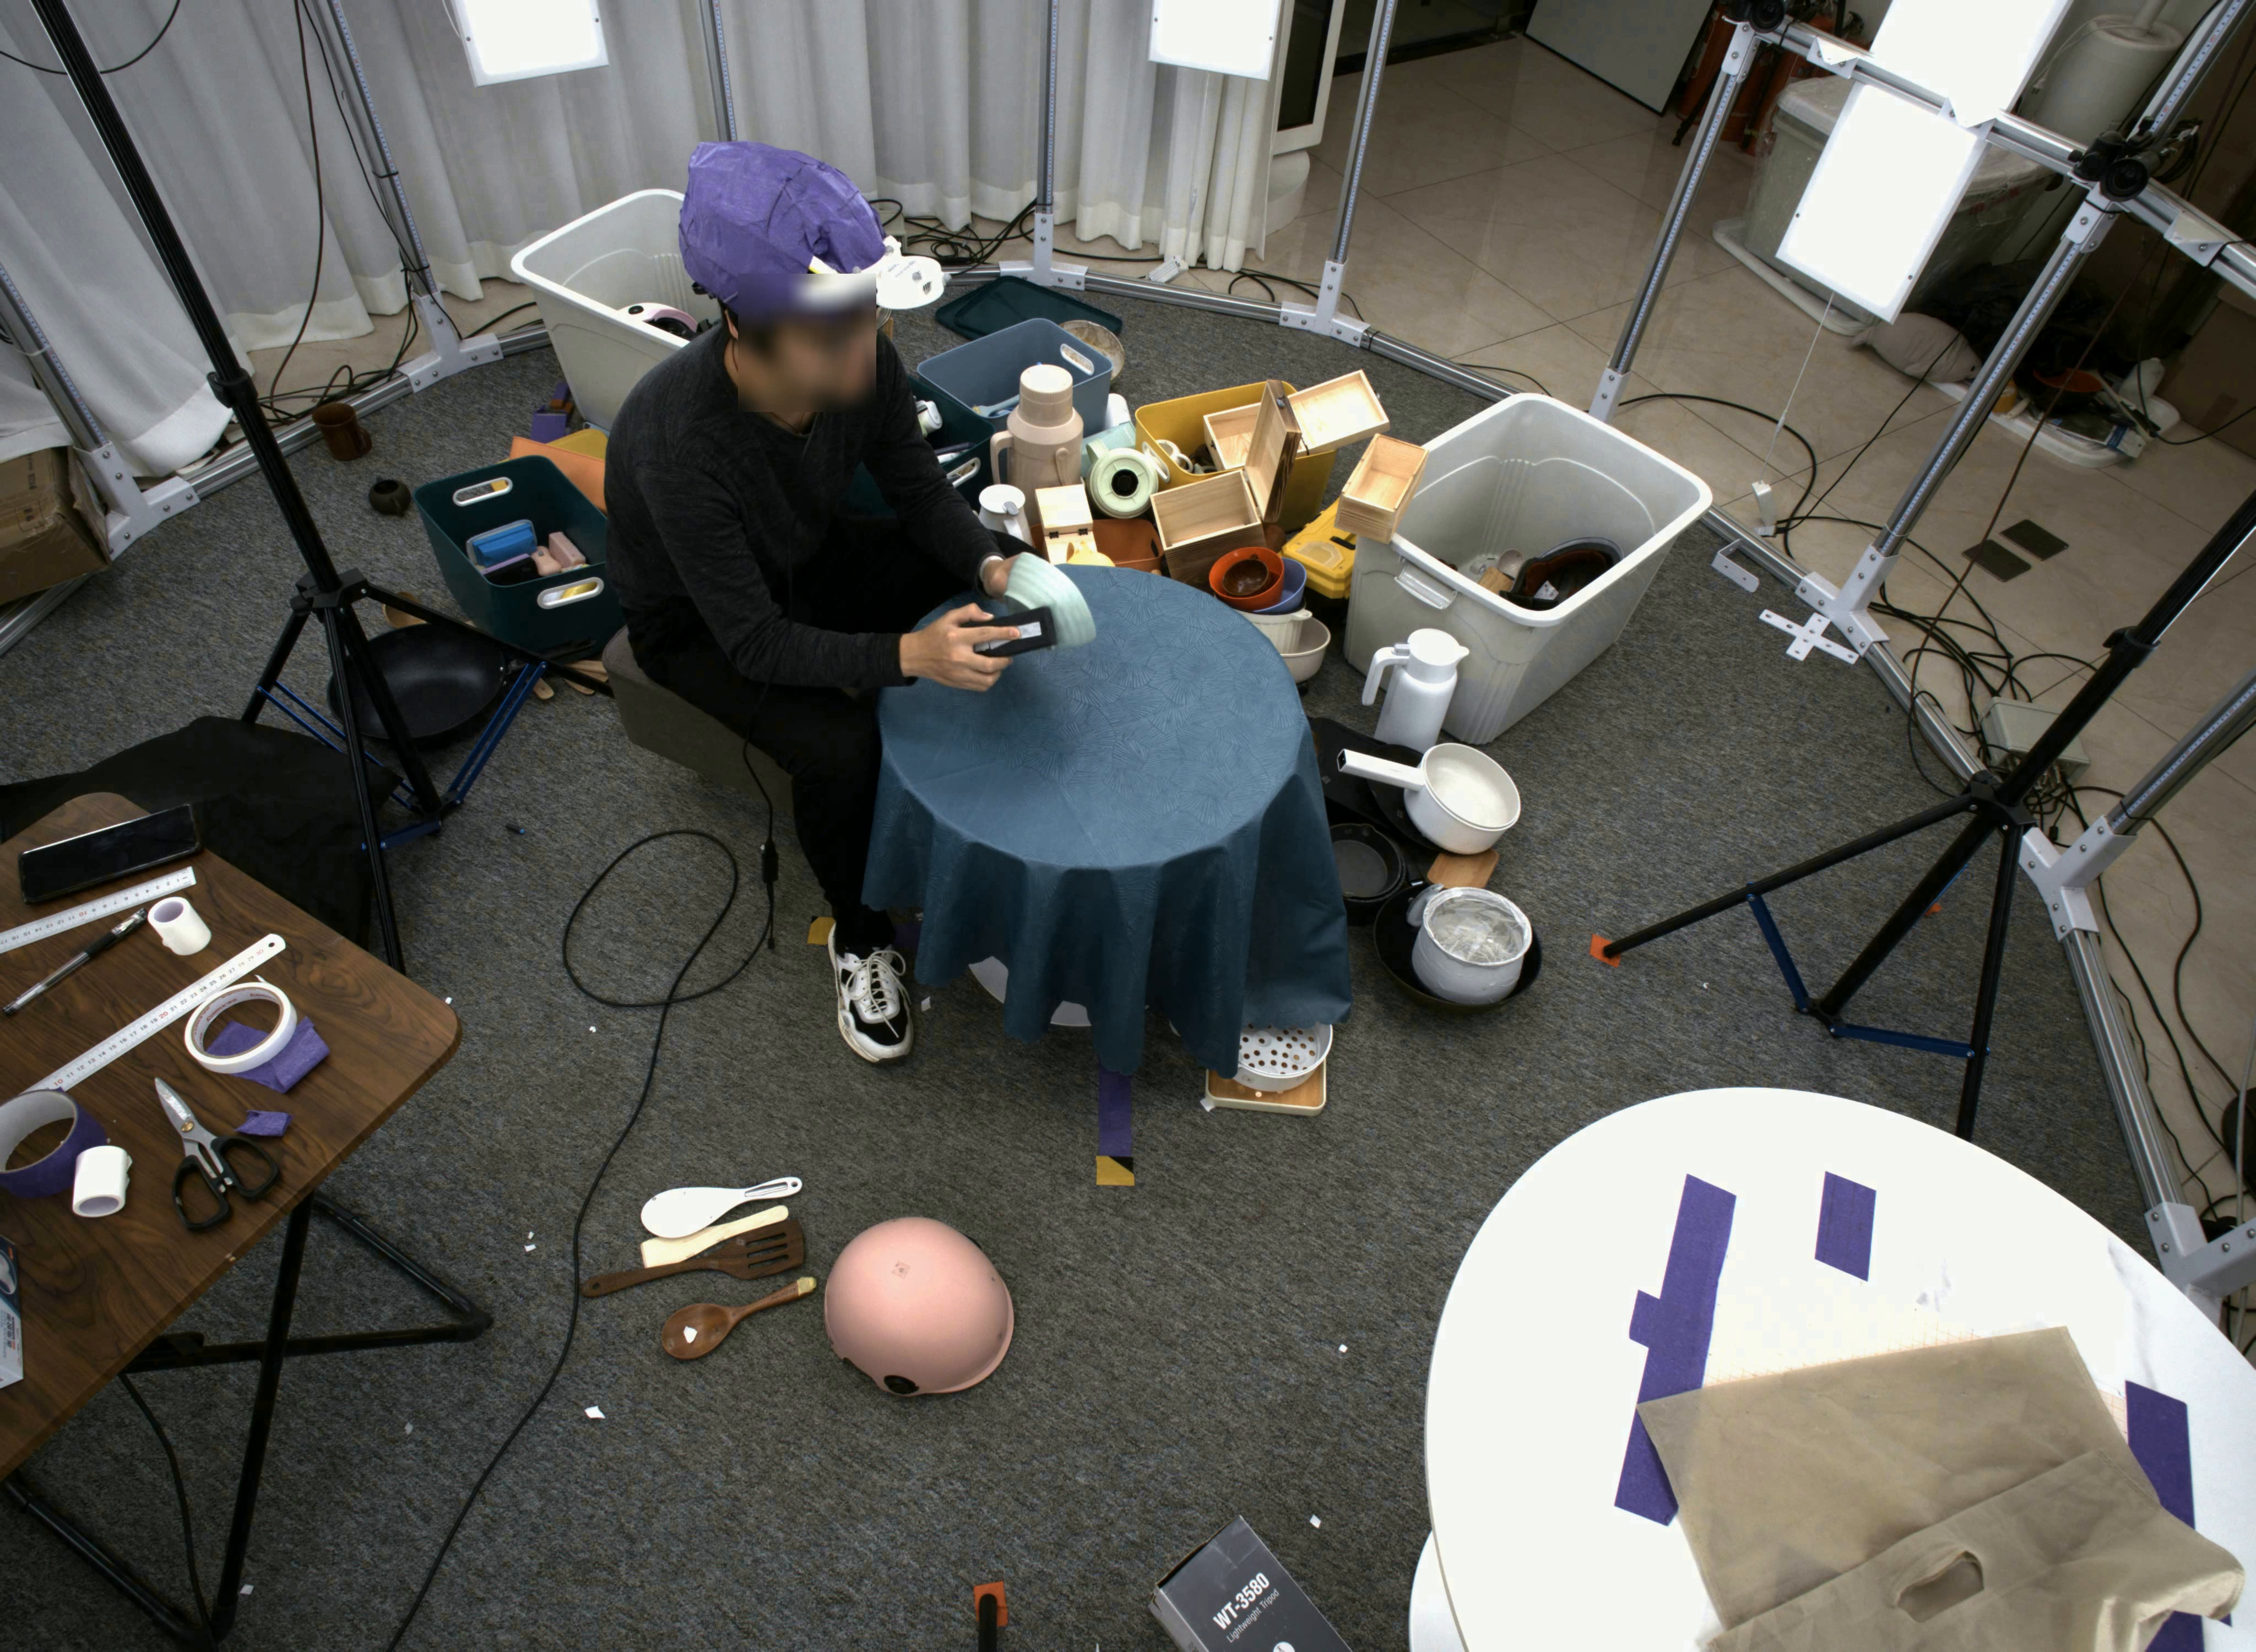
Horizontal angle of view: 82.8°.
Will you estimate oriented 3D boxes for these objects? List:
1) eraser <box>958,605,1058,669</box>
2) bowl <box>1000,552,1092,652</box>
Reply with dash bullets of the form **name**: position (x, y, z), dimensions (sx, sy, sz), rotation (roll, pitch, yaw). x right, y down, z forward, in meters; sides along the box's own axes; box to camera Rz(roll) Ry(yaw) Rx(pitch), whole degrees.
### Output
- **eraser**: position (-0.154, -0.245, 1.662), dimensions (0.125, 0.053, 0.030), rotation (-13, 3, 18)
- **bowl**: position (-0.117, -0.288, 1.717), dimensions (0.059, 0.148, 0.154), rotation (-41, 63, -15)
